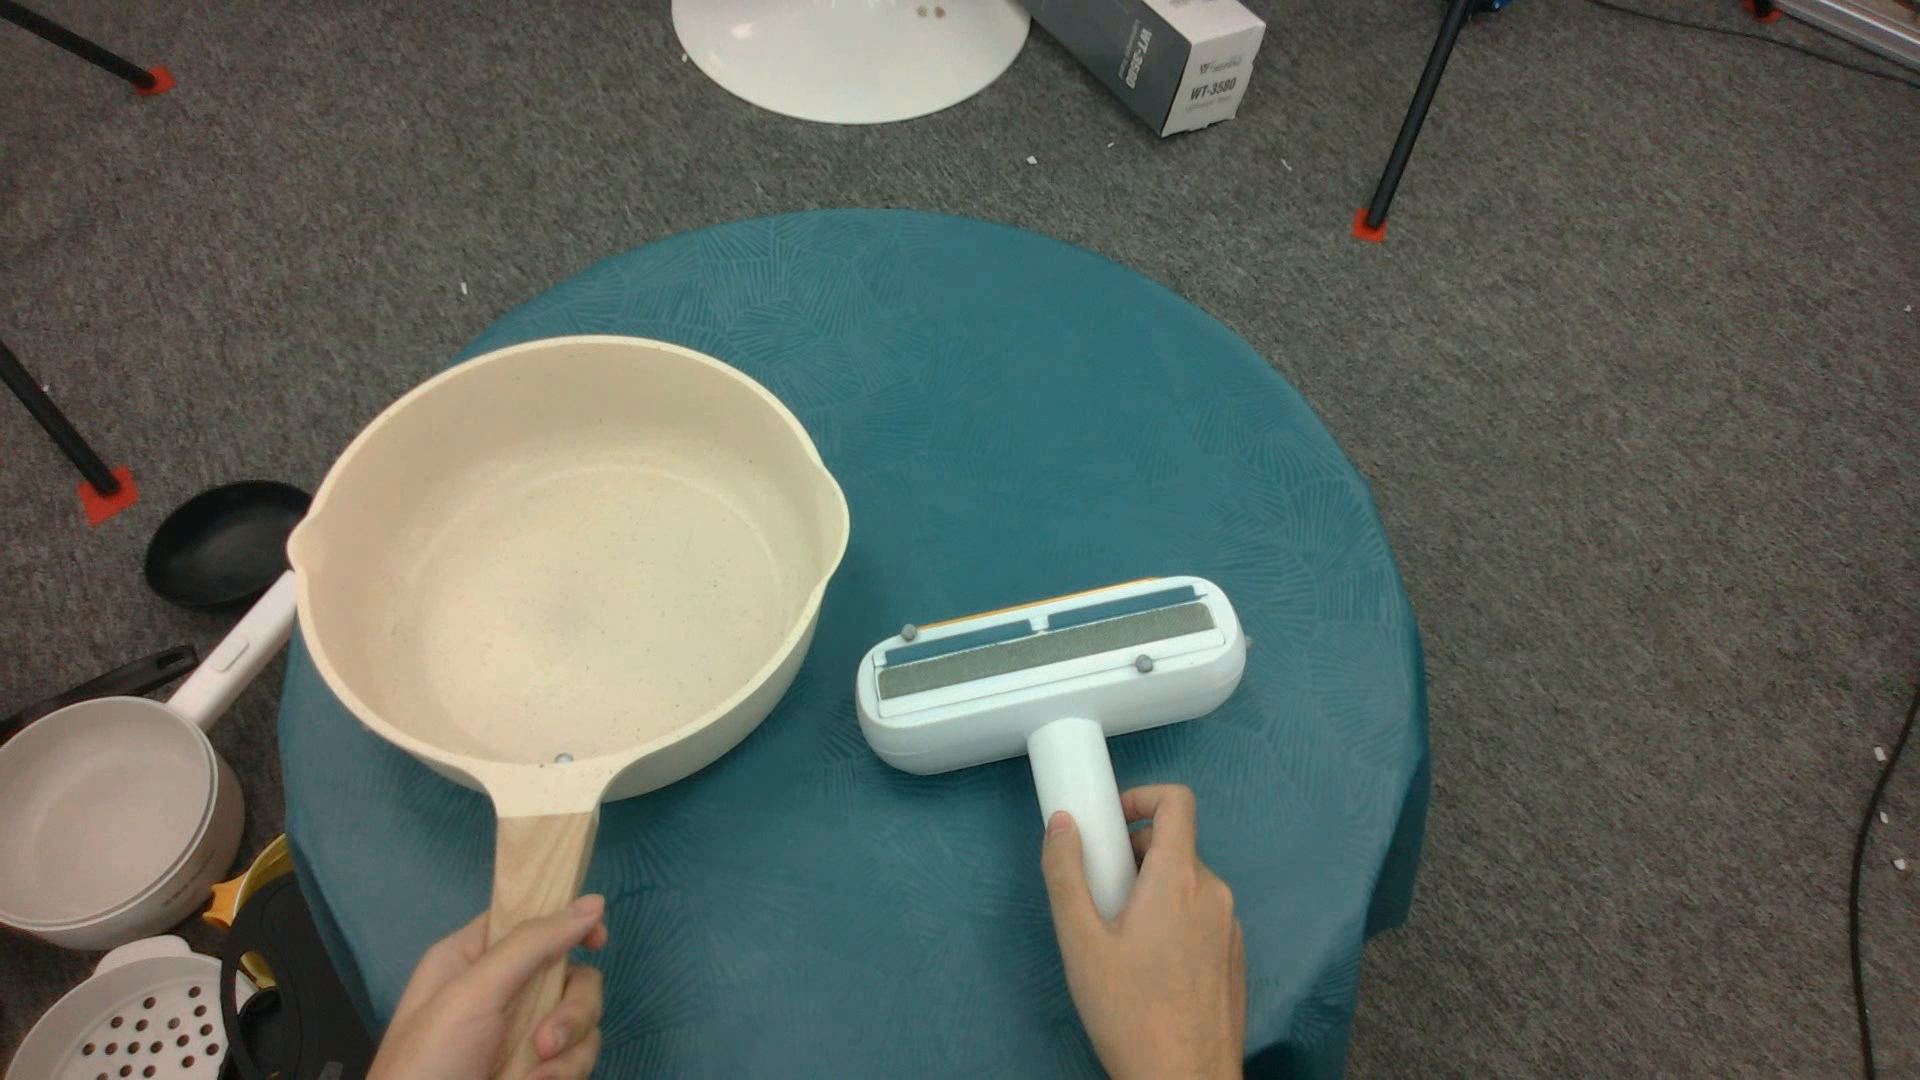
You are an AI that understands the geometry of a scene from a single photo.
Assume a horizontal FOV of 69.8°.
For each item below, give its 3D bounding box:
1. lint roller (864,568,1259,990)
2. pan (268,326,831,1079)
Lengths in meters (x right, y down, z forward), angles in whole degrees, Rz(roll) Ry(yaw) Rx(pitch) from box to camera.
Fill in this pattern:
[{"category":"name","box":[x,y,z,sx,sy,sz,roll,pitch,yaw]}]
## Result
[{"category":"lint roller","box":[0.055,0.110,0.651,0.193,0.074,0.193,-7,53,-1]},{"category":"pan","box":[-0.187,0.087,0.639,0.263,0.101,0.436,-2,57,-8]}]
